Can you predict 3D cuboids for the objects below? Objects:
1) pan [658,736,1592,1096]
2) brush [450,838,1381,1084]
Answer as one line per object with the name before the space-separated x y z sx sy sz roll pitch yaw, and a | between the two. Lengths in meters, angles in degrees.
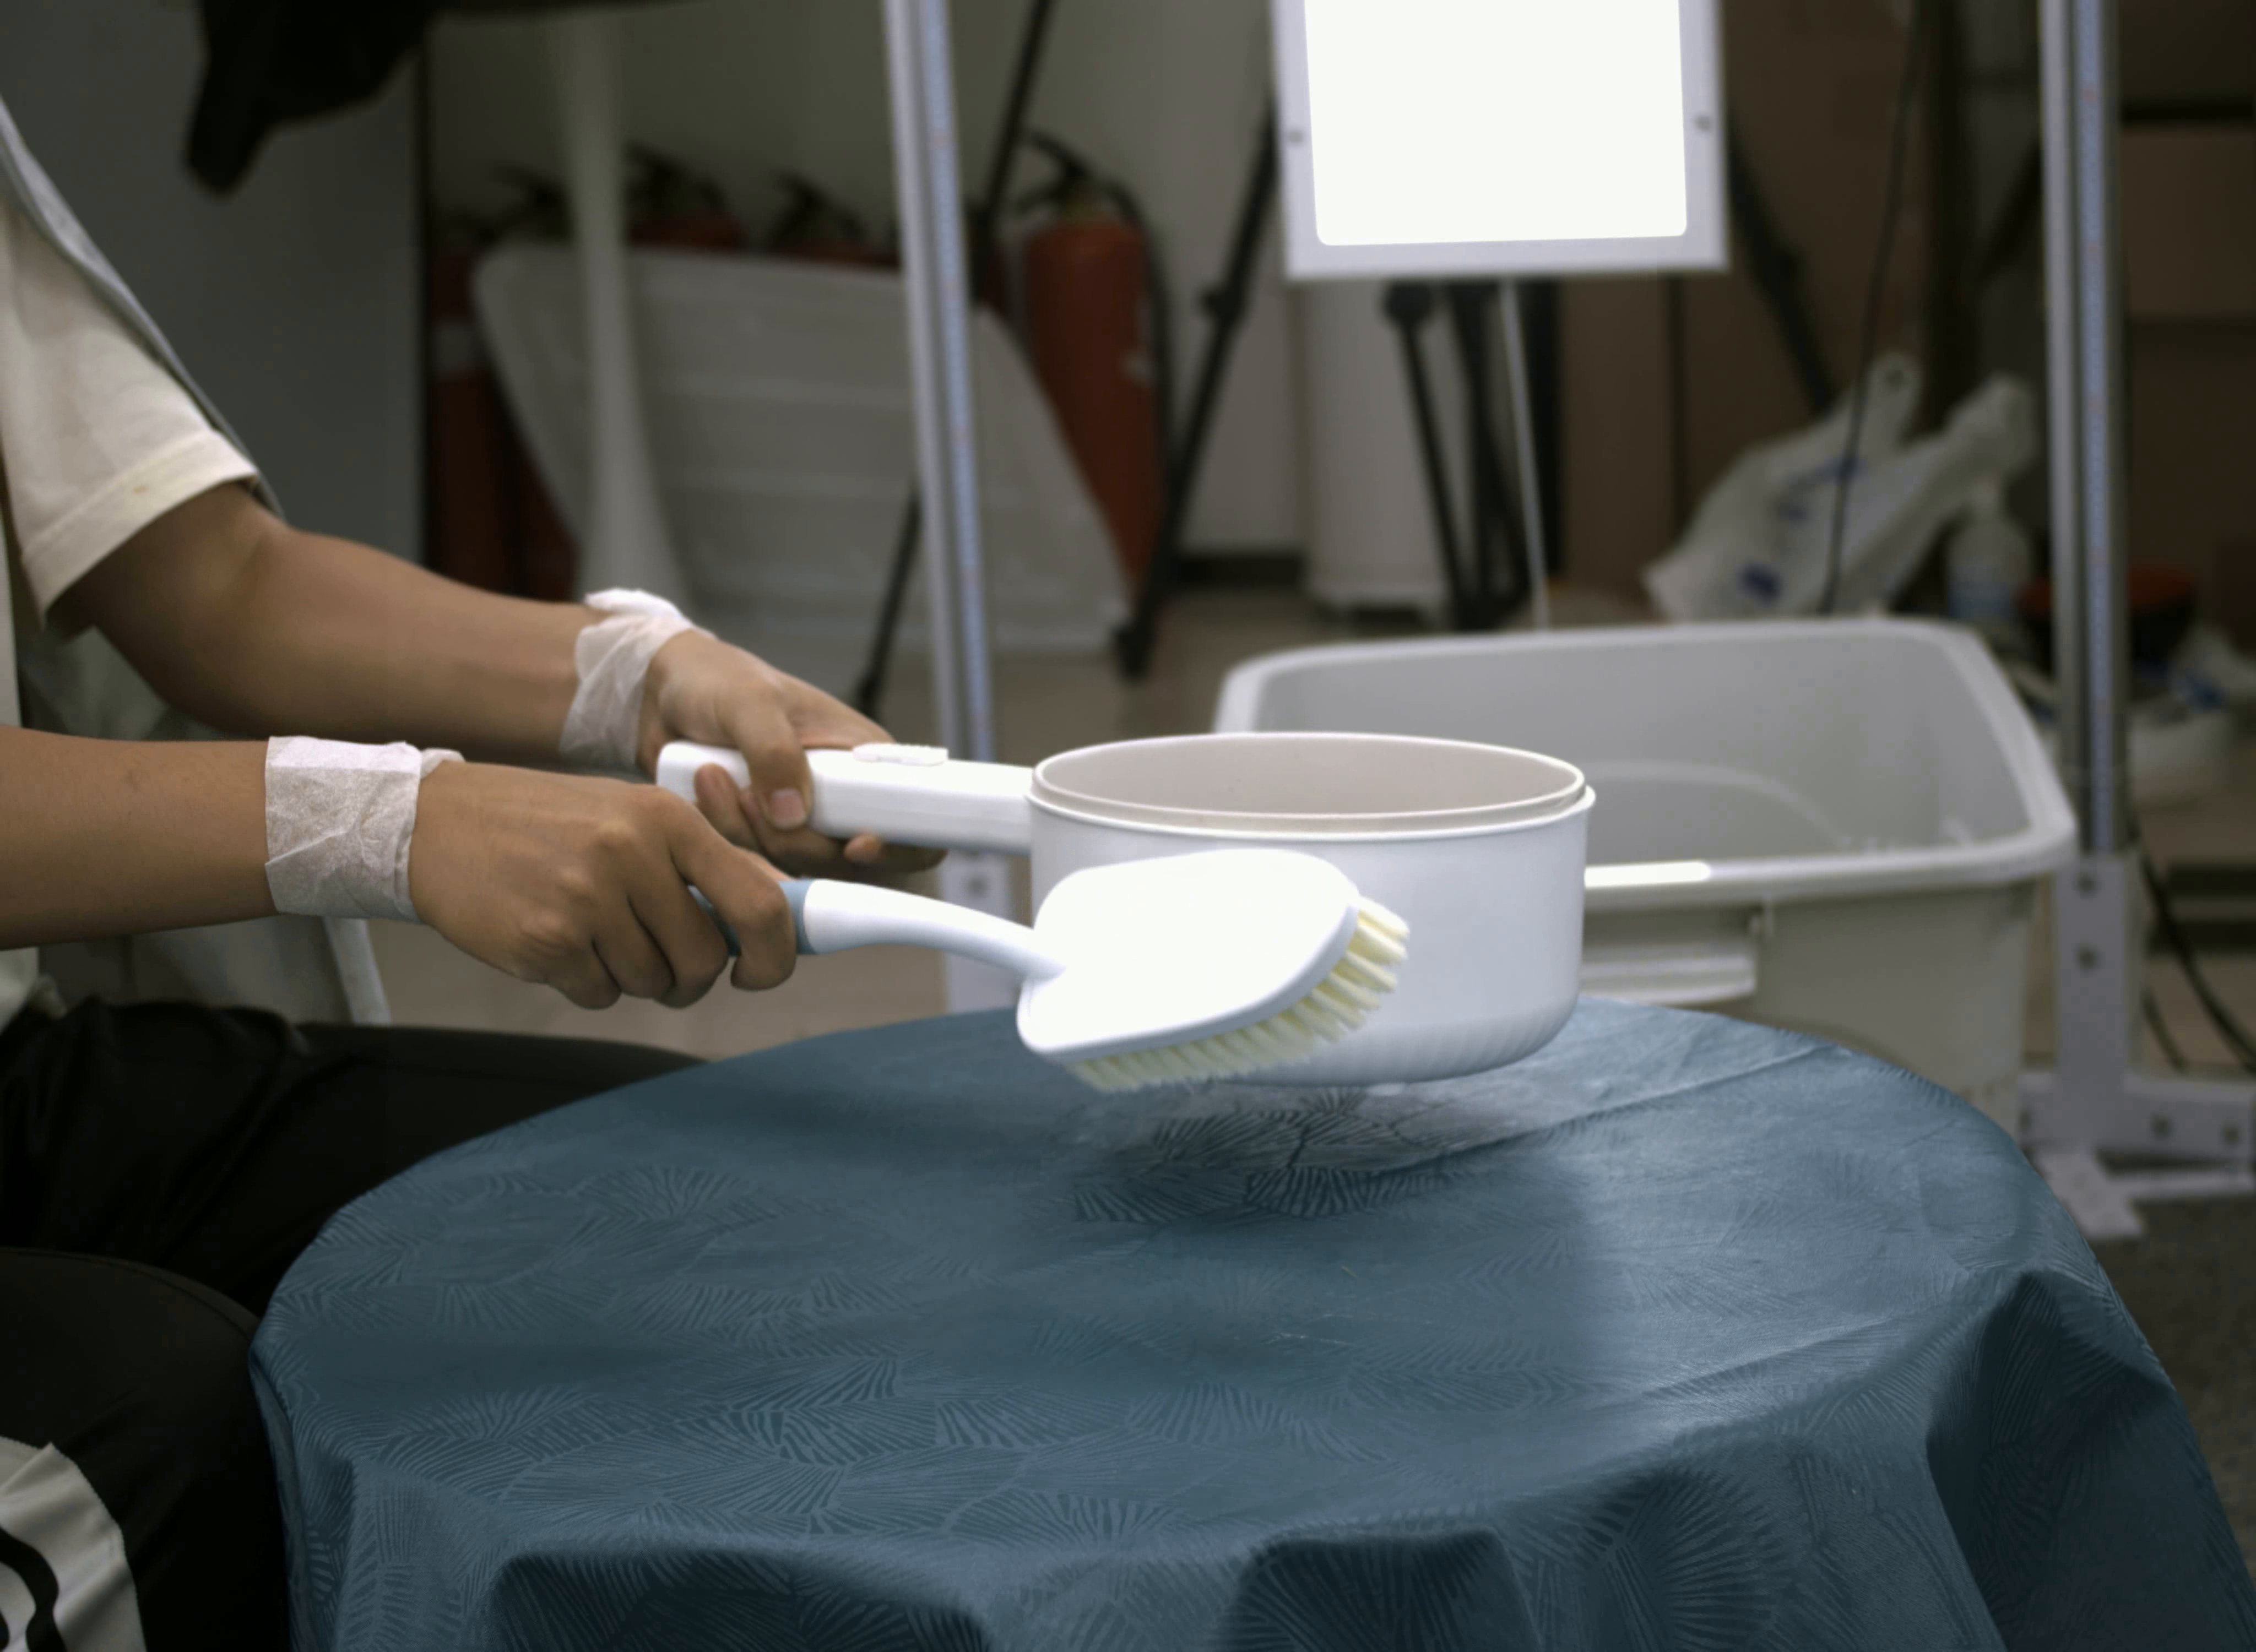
pan | -0.007 0.027 1.970 0.361 0.102 0.197 4 10 26
brush | -0.067 0.043 1.801 0.331 0.084 0.081 -3 22 26
